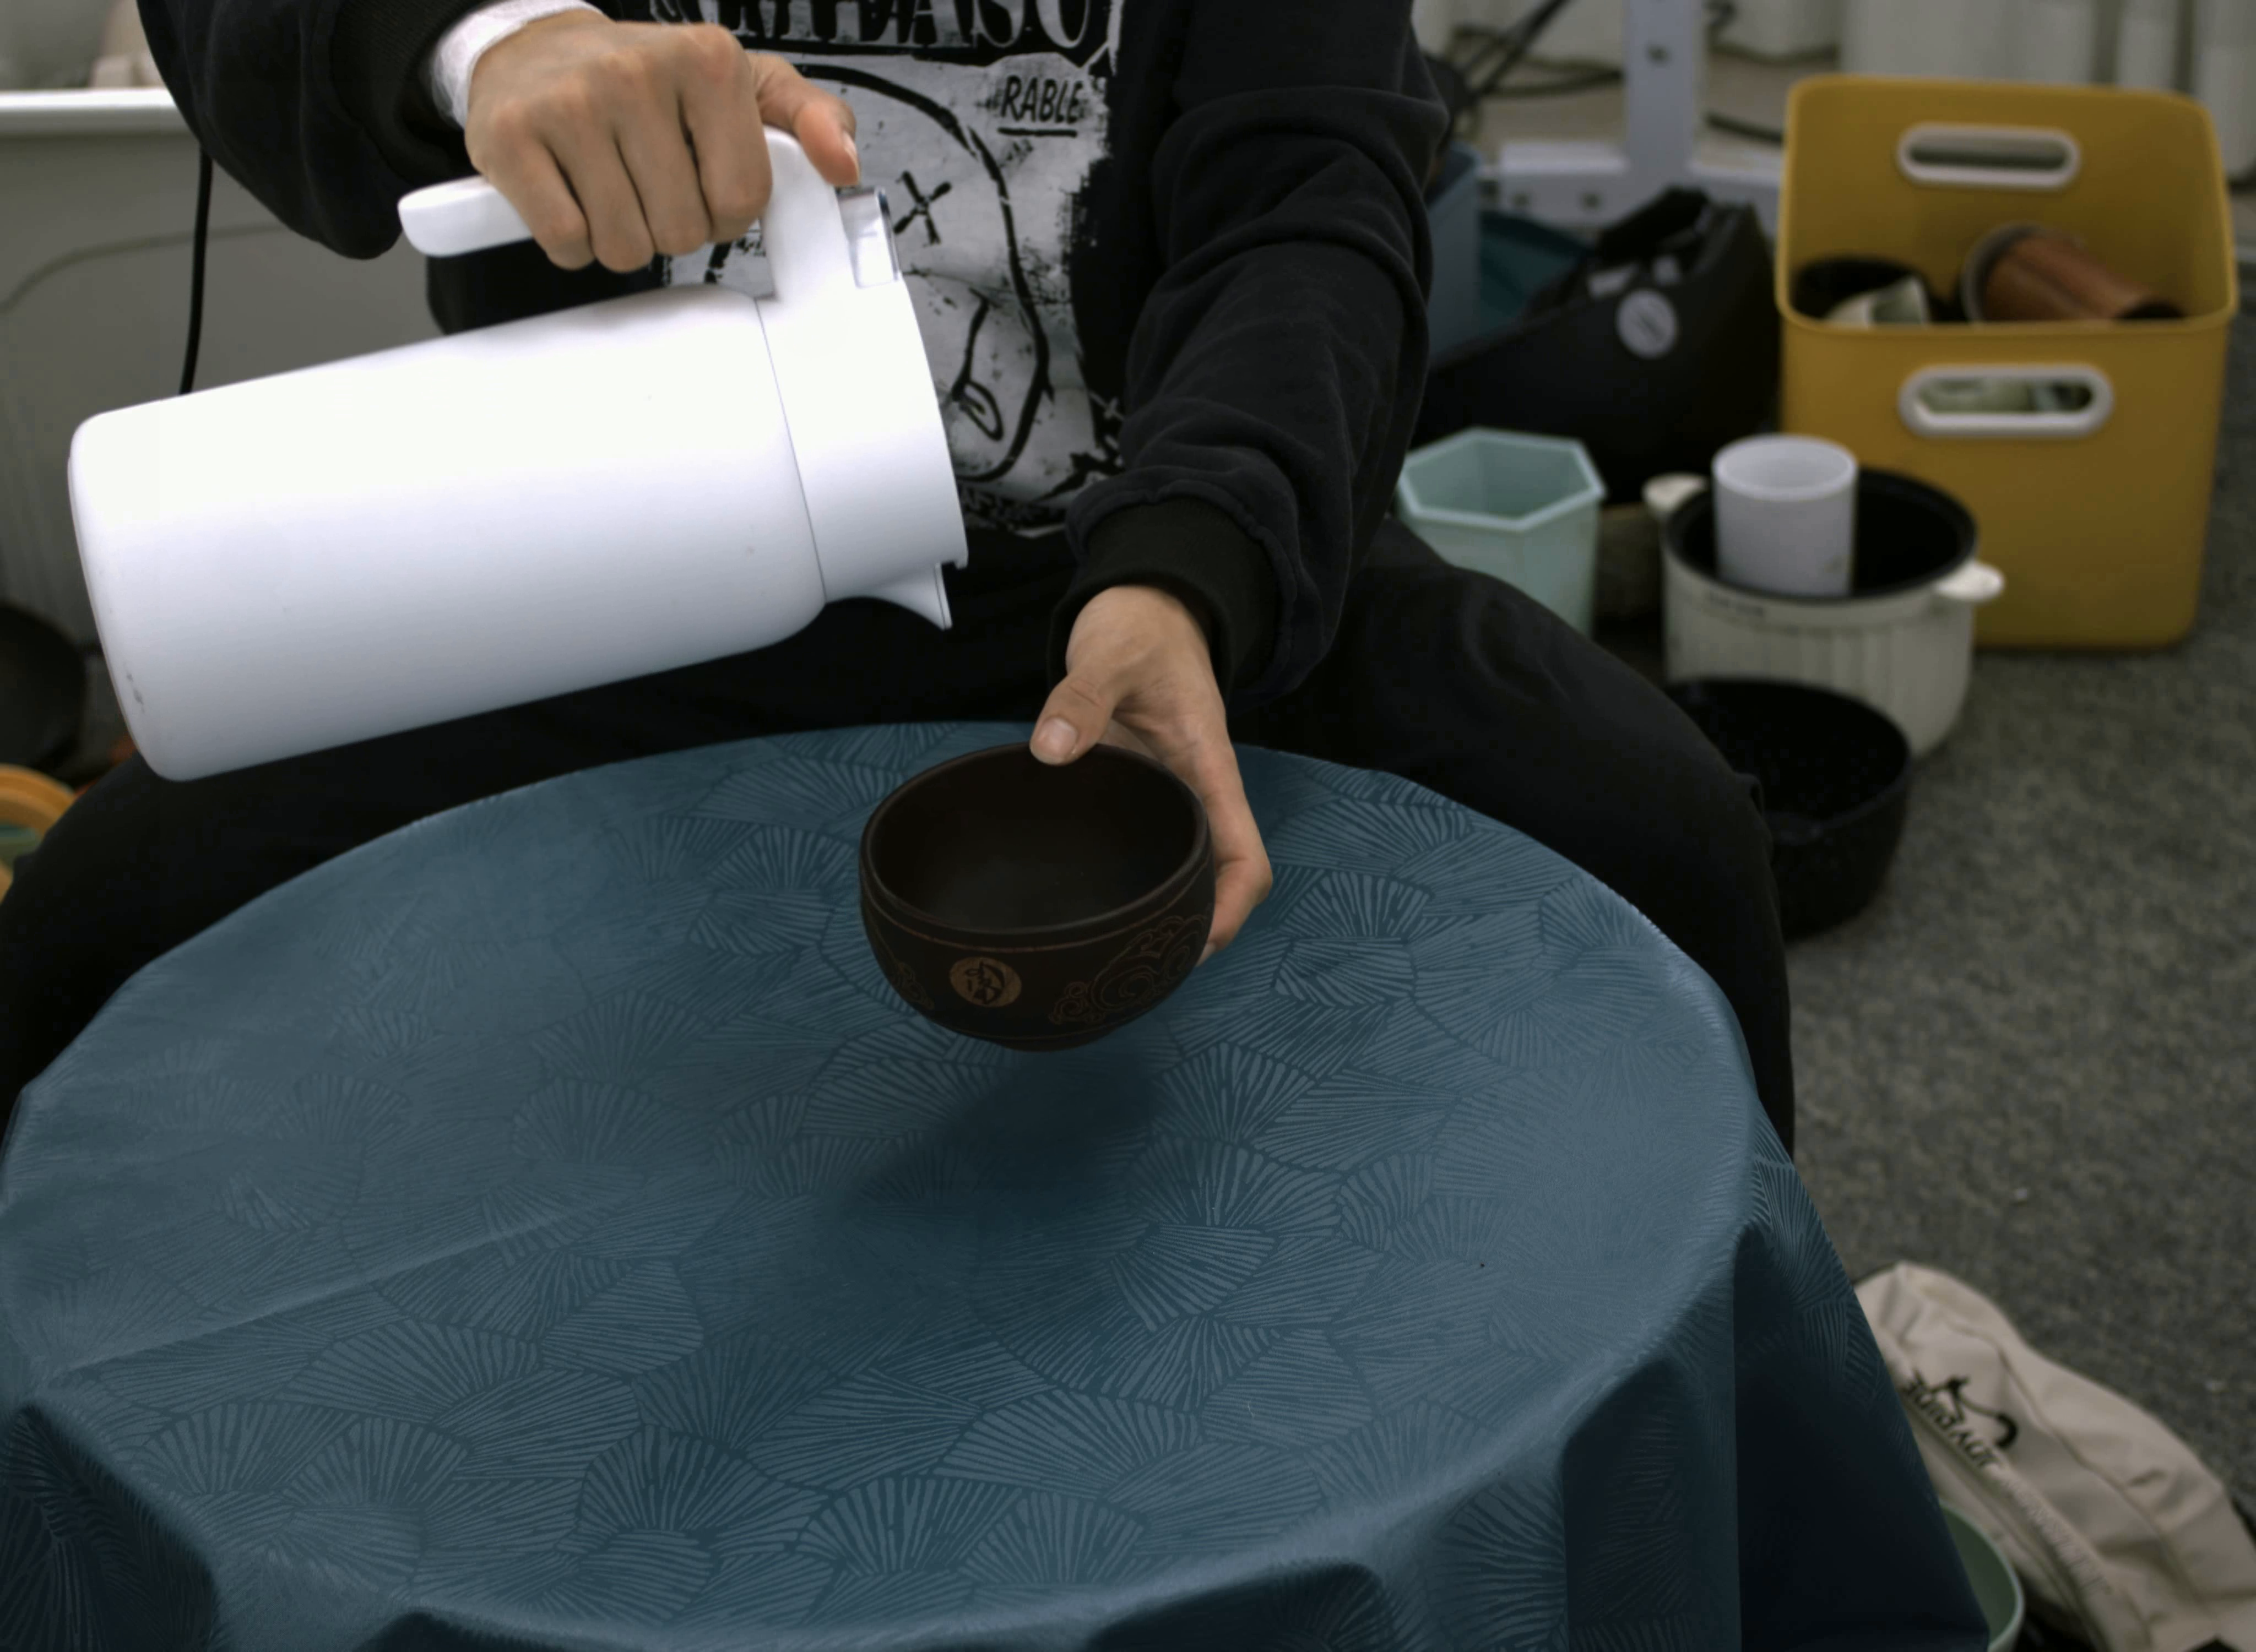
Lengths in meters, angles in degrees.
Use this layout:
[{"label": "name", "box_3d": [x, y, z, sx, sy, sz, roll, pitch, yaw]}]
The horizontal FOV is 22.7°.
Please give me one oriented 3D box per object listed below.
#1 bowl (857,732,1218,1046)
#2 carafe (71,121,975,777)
[{"label": "bowl", "box_3d": [-0.028, 0.028, 1.848, 0.117, 0.069, 0.120, -4, 32, 3]}, {"label": "carafe", "box_3d": [-0.192, -0.115, 1.758, 0.268, 0.172, 0.125, -13, 17, -3]}]
